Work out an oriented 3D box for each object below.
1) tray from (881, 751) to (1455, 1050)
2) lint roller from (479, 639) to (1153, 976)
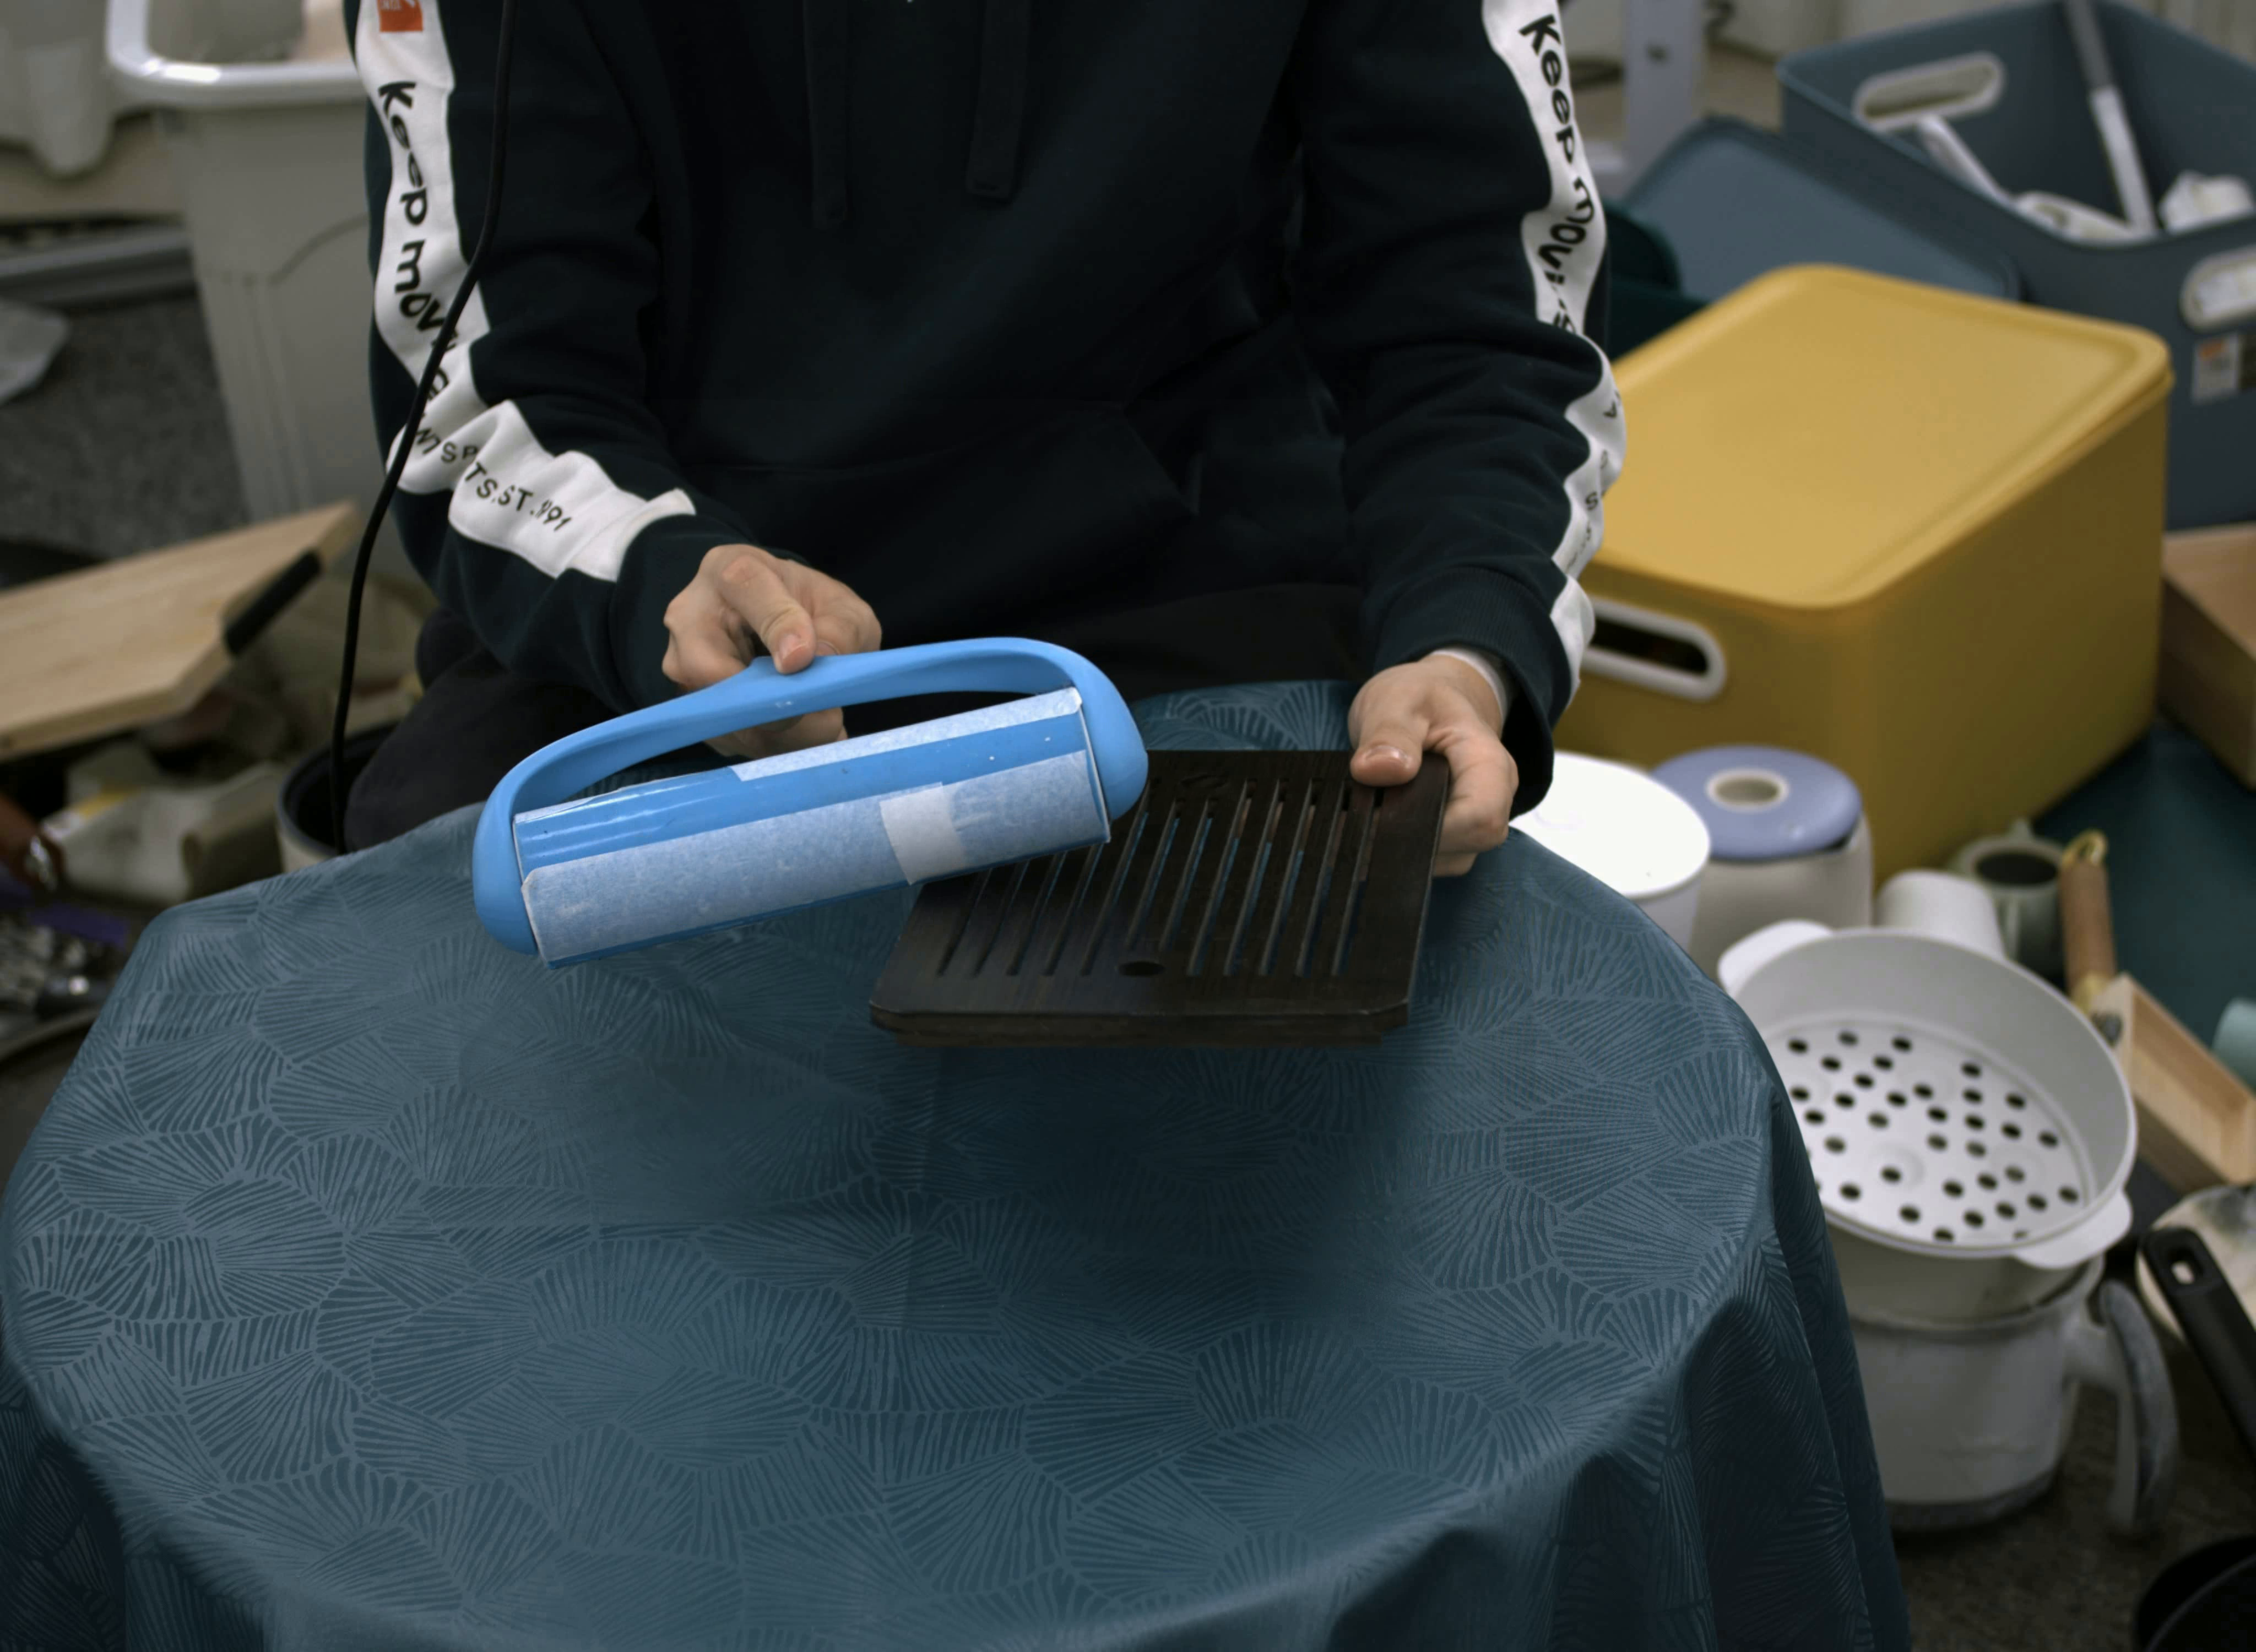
[{"bbox_3d":[0.020,0.023,1.879,0.169,0.018,0.309,0,16,5],"label":"tray"},{"bbox_3d":[-0.115,-0.024,1.922,0.228,0.067,0.182,-16,27,-5],"label":"lint roller"}]
